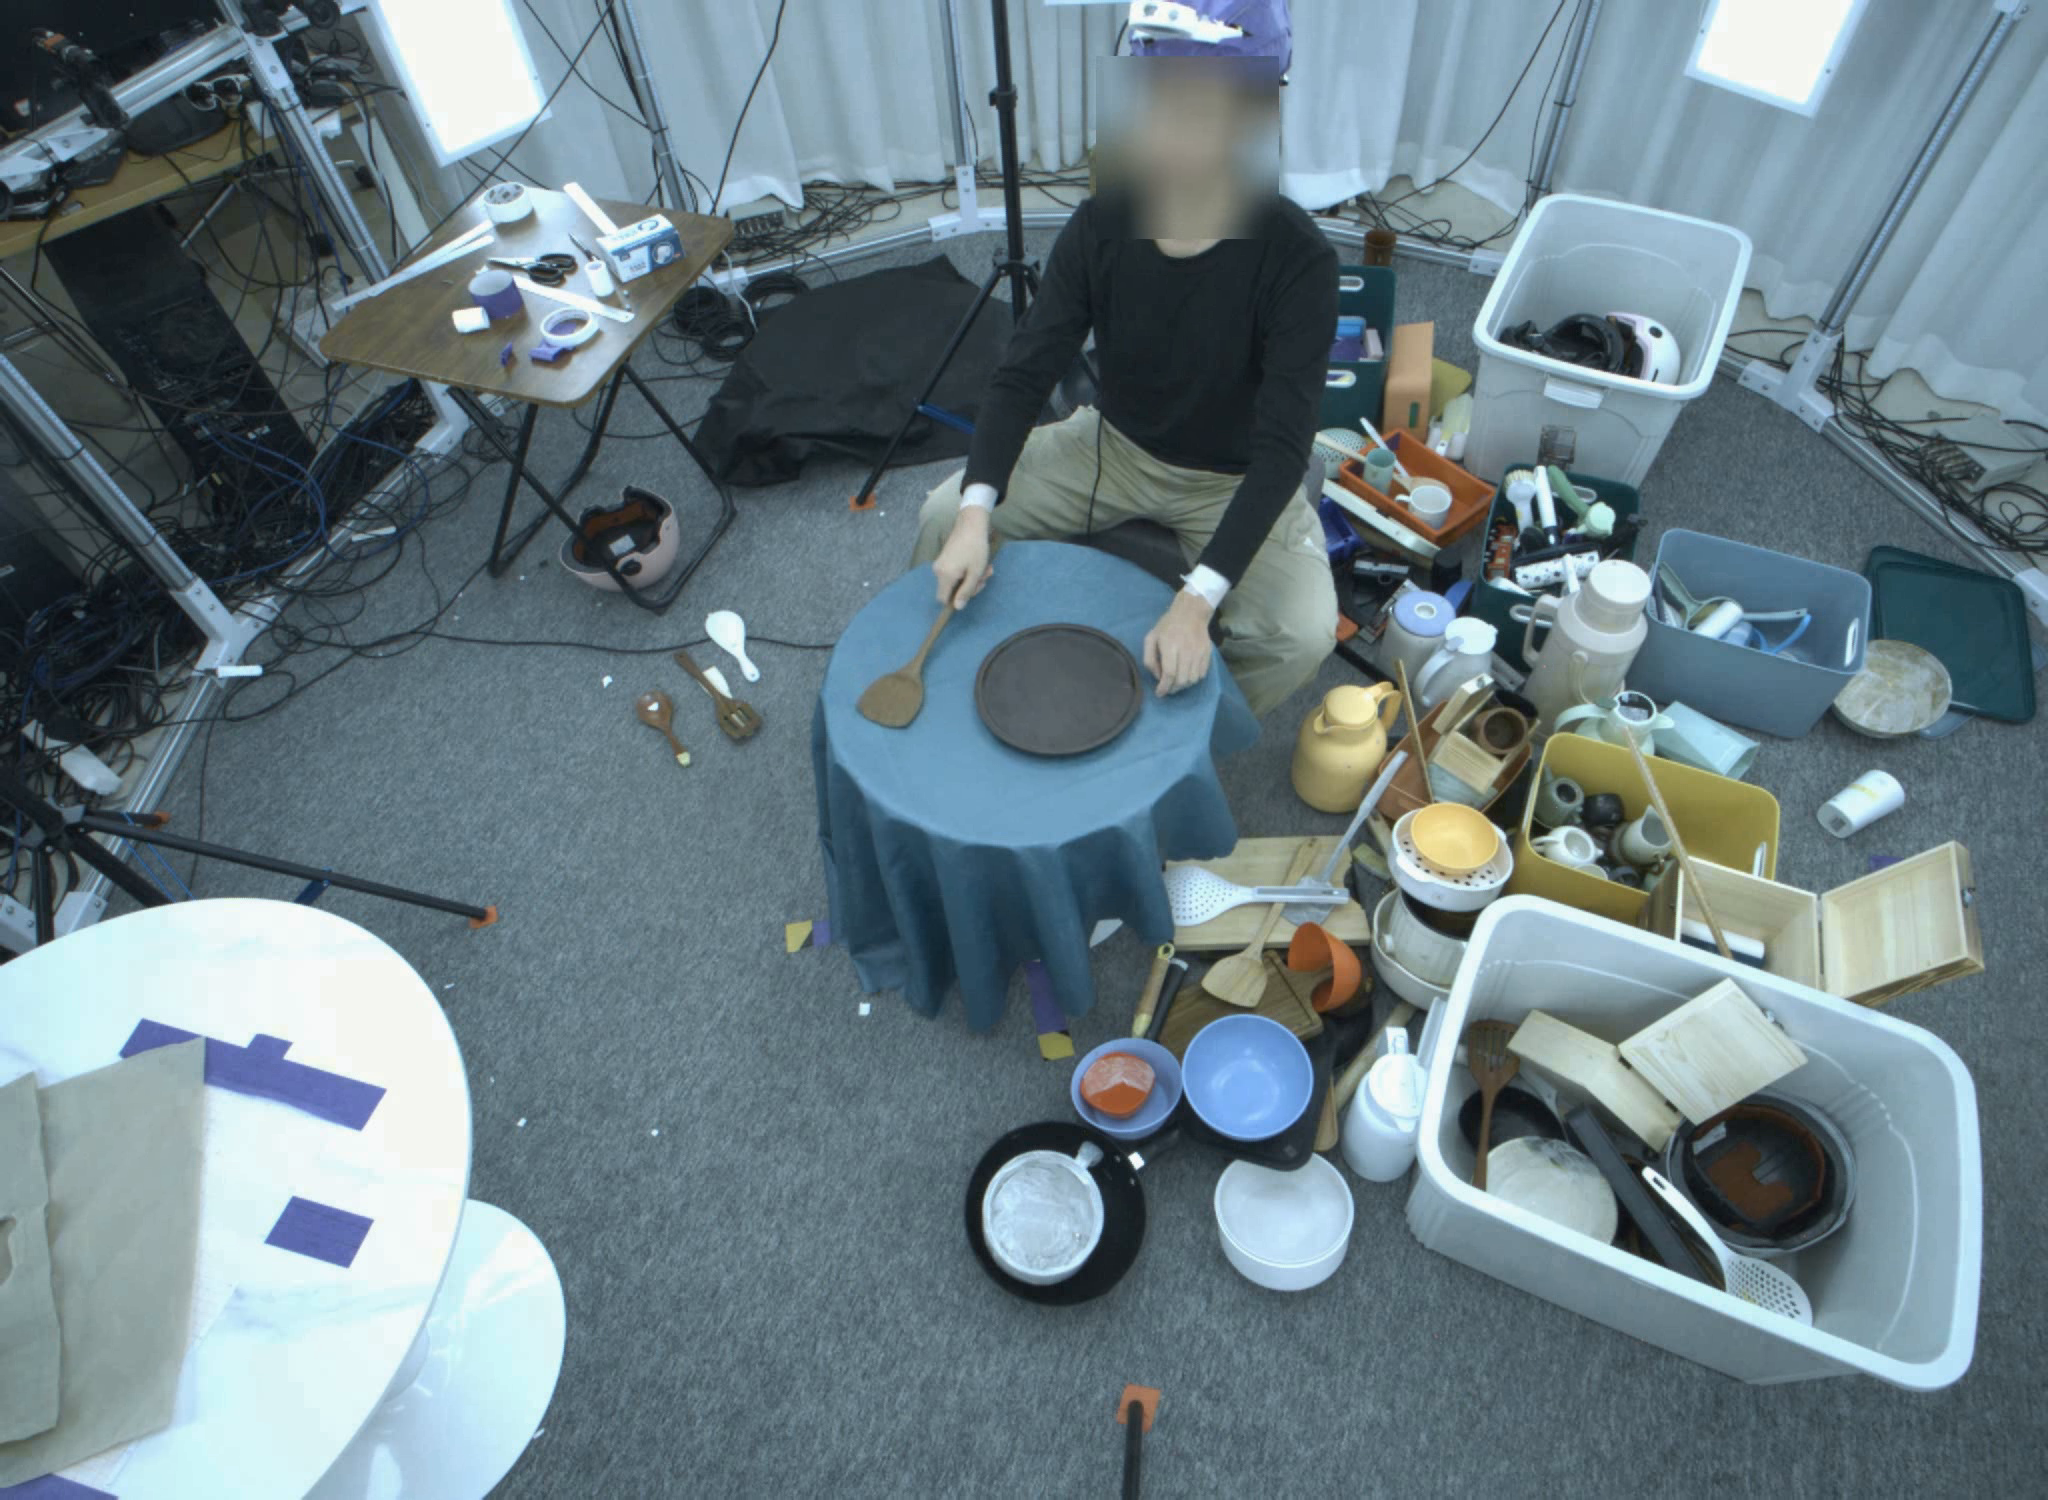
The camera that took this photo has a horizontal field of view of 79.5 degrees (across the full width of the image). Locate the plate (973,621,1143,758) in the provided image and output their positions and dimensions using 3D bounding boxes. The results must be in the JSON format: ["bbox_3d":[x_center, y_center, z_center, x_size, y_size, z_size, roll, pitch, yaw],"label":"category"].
[{"bbox_3d":[0.051,-0.091,1.837,0.254,0.029,0.252,-1,55,3],"label":"plate"}]

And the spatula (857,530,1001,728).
[{"bbox_3d":[-0.131,-0.197,1.894,0.095,0.016,0.386,23,68,16],"label":"spatula"}]
